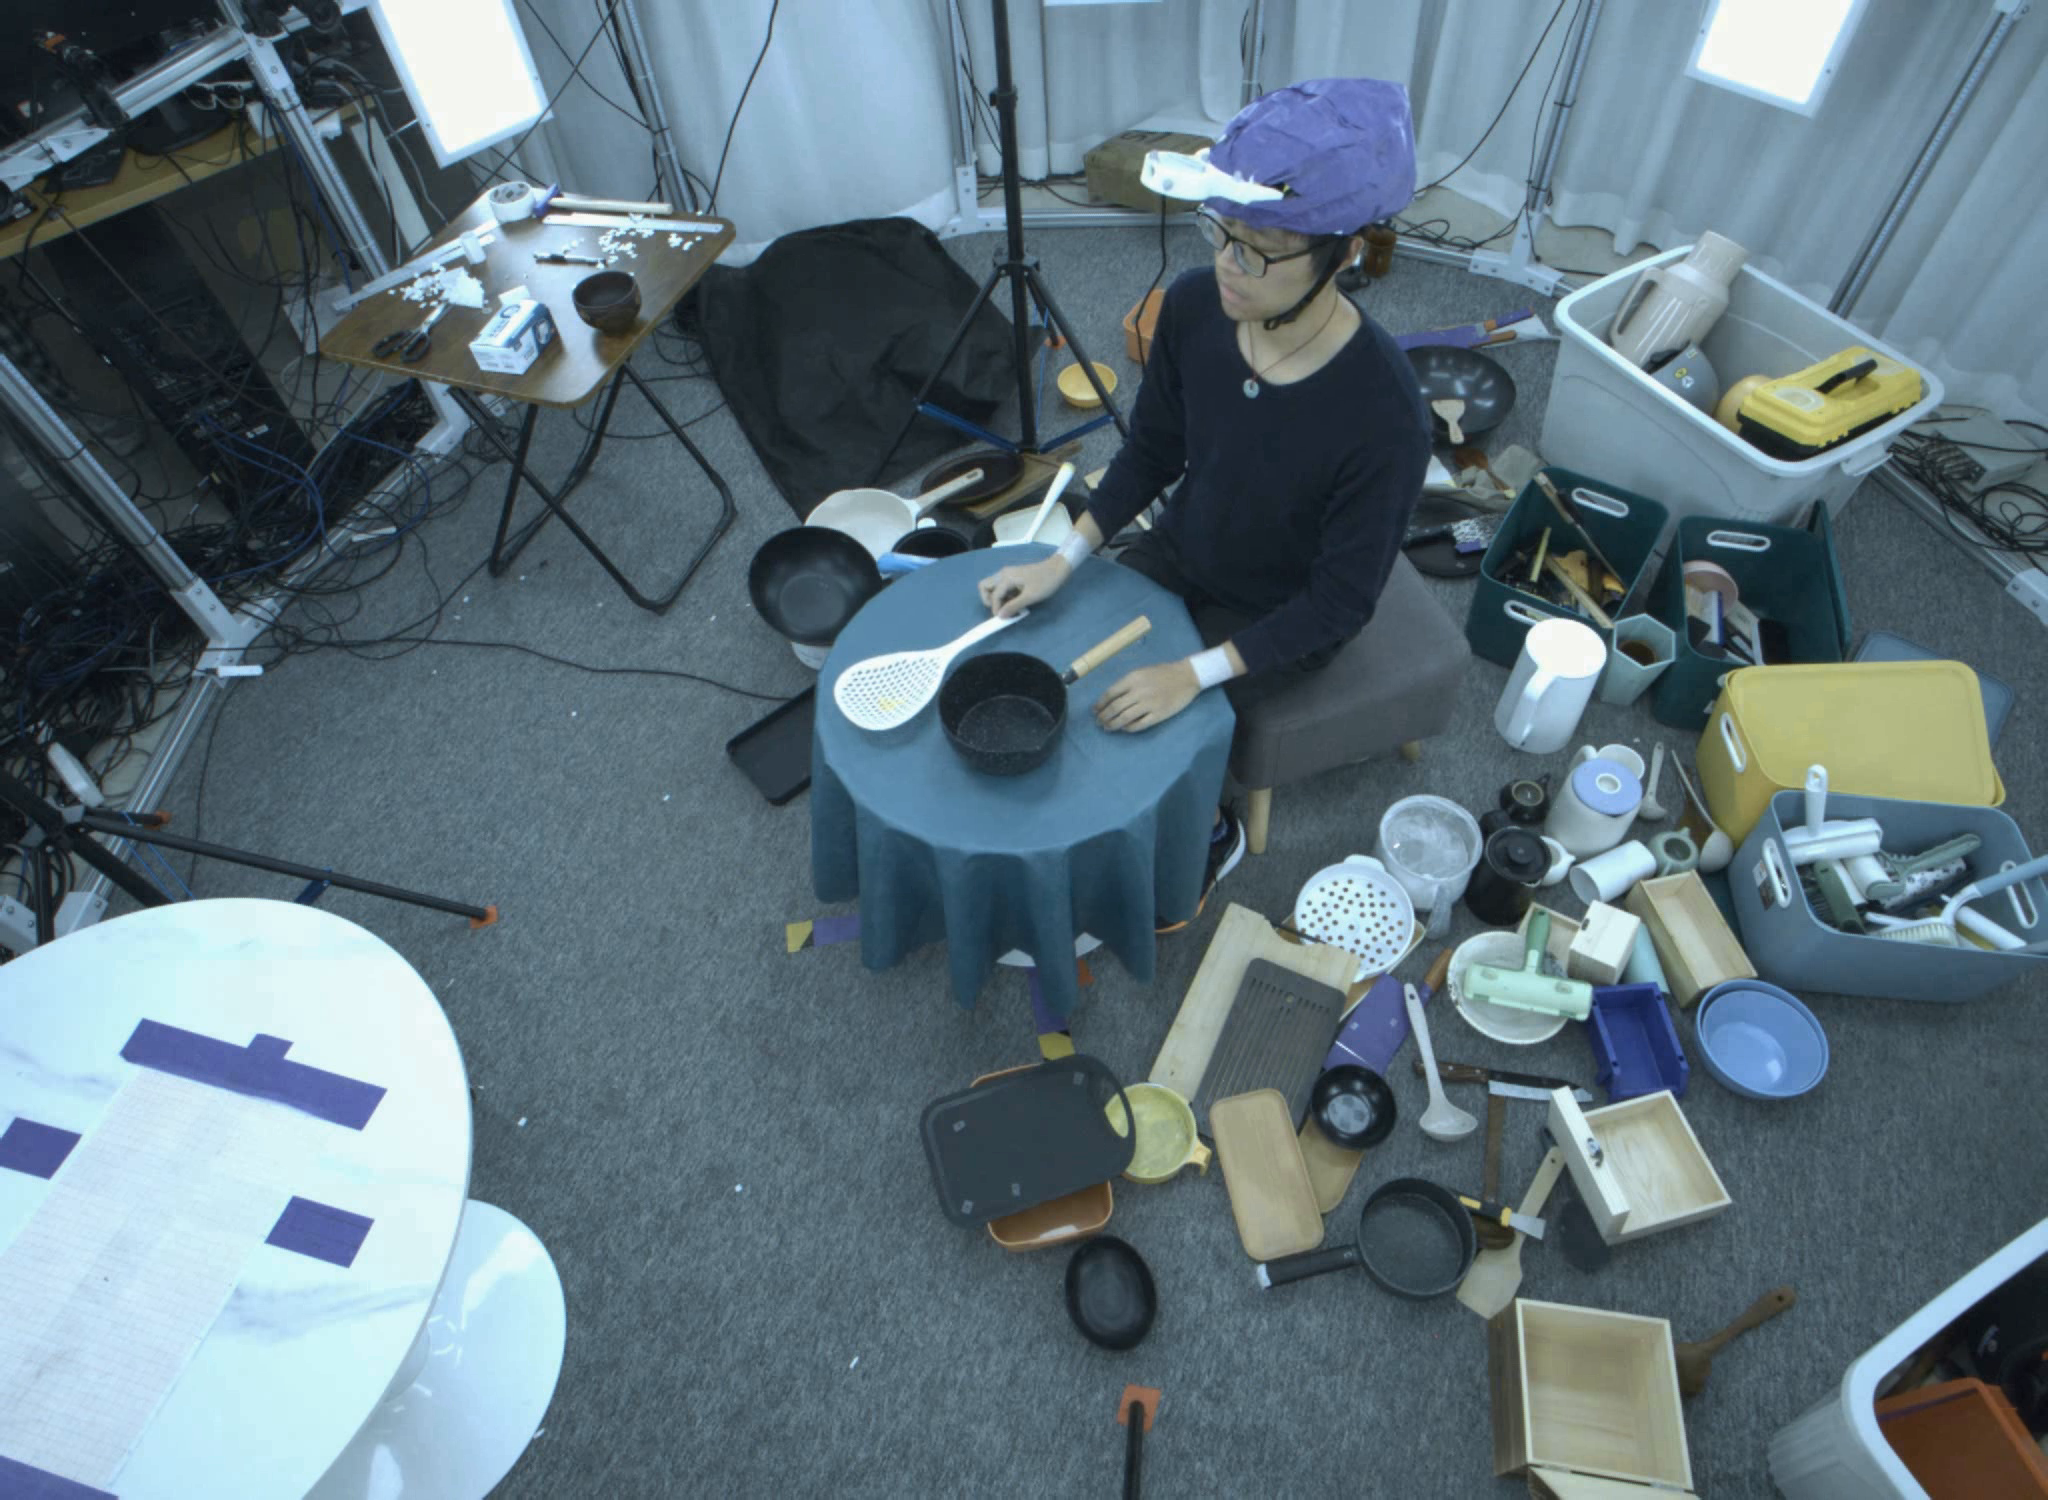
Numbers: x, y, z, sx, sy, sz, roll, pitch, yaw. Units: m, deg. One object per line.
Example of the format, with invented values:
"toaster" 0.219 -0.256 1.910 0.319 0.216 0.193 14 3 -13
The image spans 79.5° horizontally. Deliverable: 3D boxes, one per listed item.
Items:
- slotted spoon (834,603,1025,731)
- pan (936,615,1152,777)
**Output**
"slotted spoon" -0.129 -0.137 1.863 0.350 0.051 0.134 -37 63 -20
"pan" 0.038 -0.089 1.782 0.345 0.109 0.203 -29 57 -16
